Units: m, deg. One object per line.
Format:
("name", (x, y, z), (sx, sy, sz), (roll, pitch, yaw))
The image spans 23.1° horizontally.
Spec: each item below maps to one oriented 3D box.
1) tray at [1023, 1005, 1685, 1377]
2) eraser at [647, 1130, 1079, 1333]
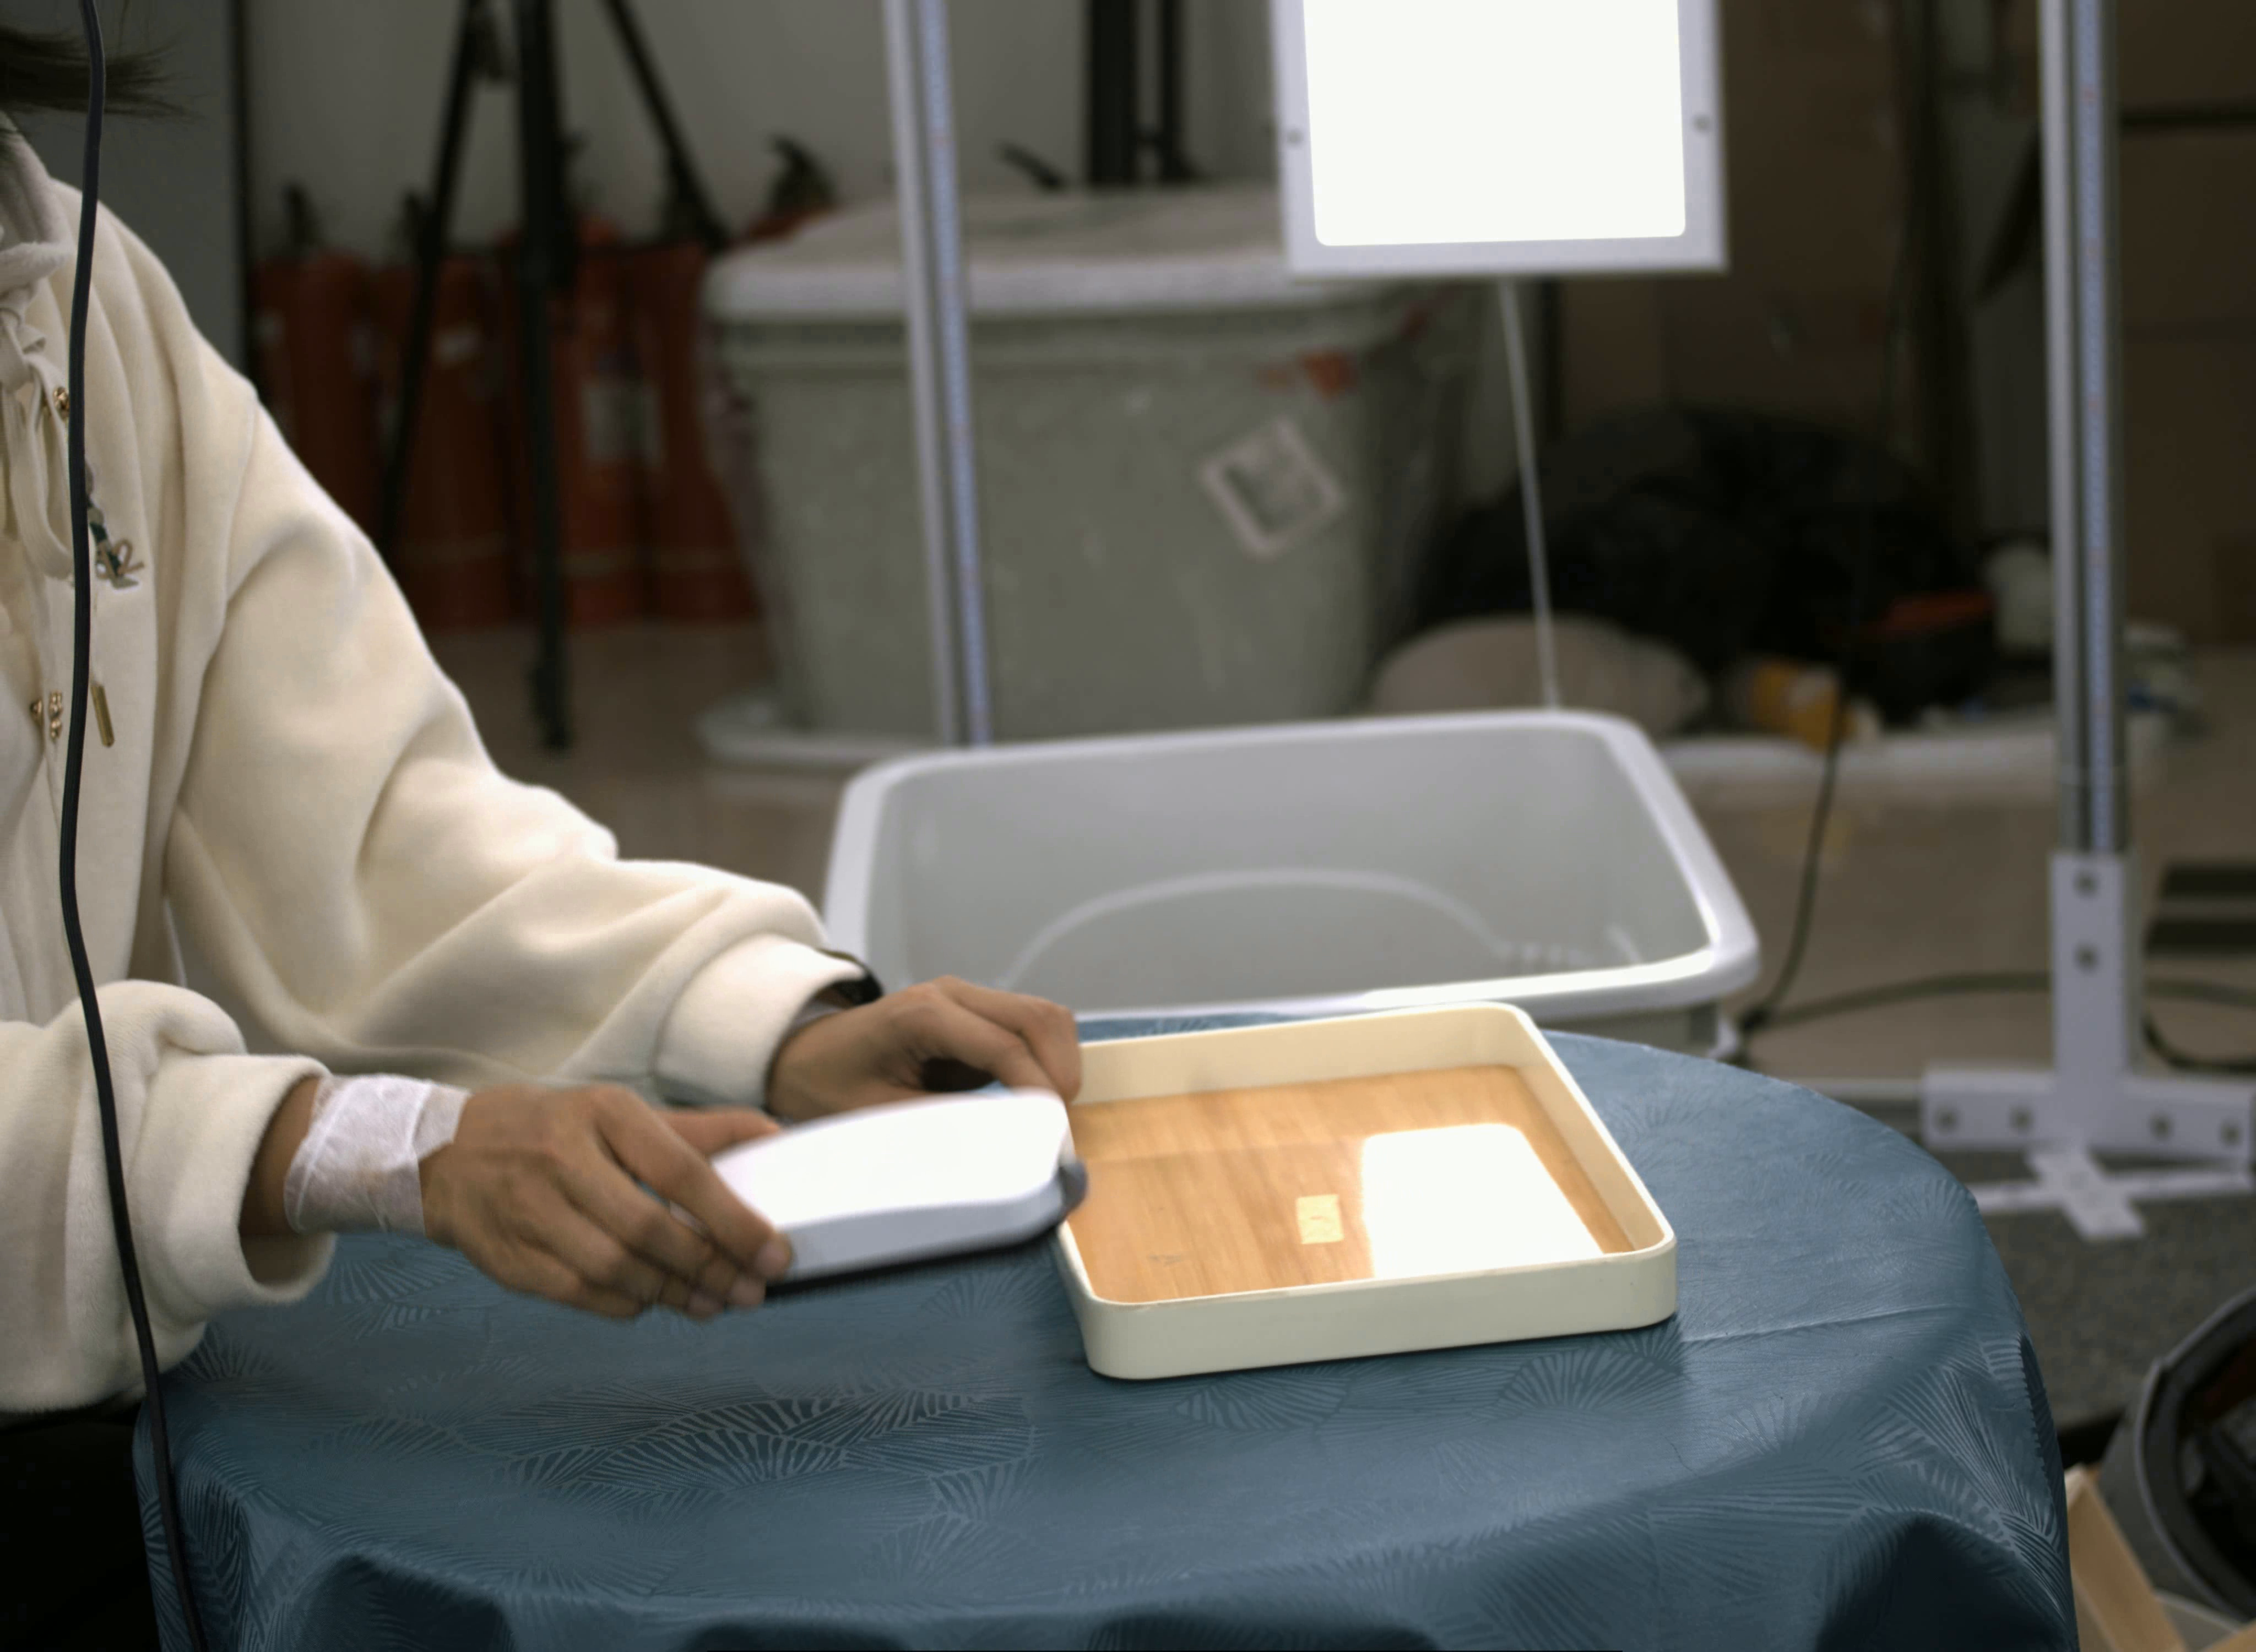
("tray", (0.070, 0.119, 1.849), (0.190, 0.027, 0.300), (-6, 14, -3))
("eraser", (-0.080, 0.122, 1.691), (0.133, 0.034, 0.062), (-8, 25, 20))
